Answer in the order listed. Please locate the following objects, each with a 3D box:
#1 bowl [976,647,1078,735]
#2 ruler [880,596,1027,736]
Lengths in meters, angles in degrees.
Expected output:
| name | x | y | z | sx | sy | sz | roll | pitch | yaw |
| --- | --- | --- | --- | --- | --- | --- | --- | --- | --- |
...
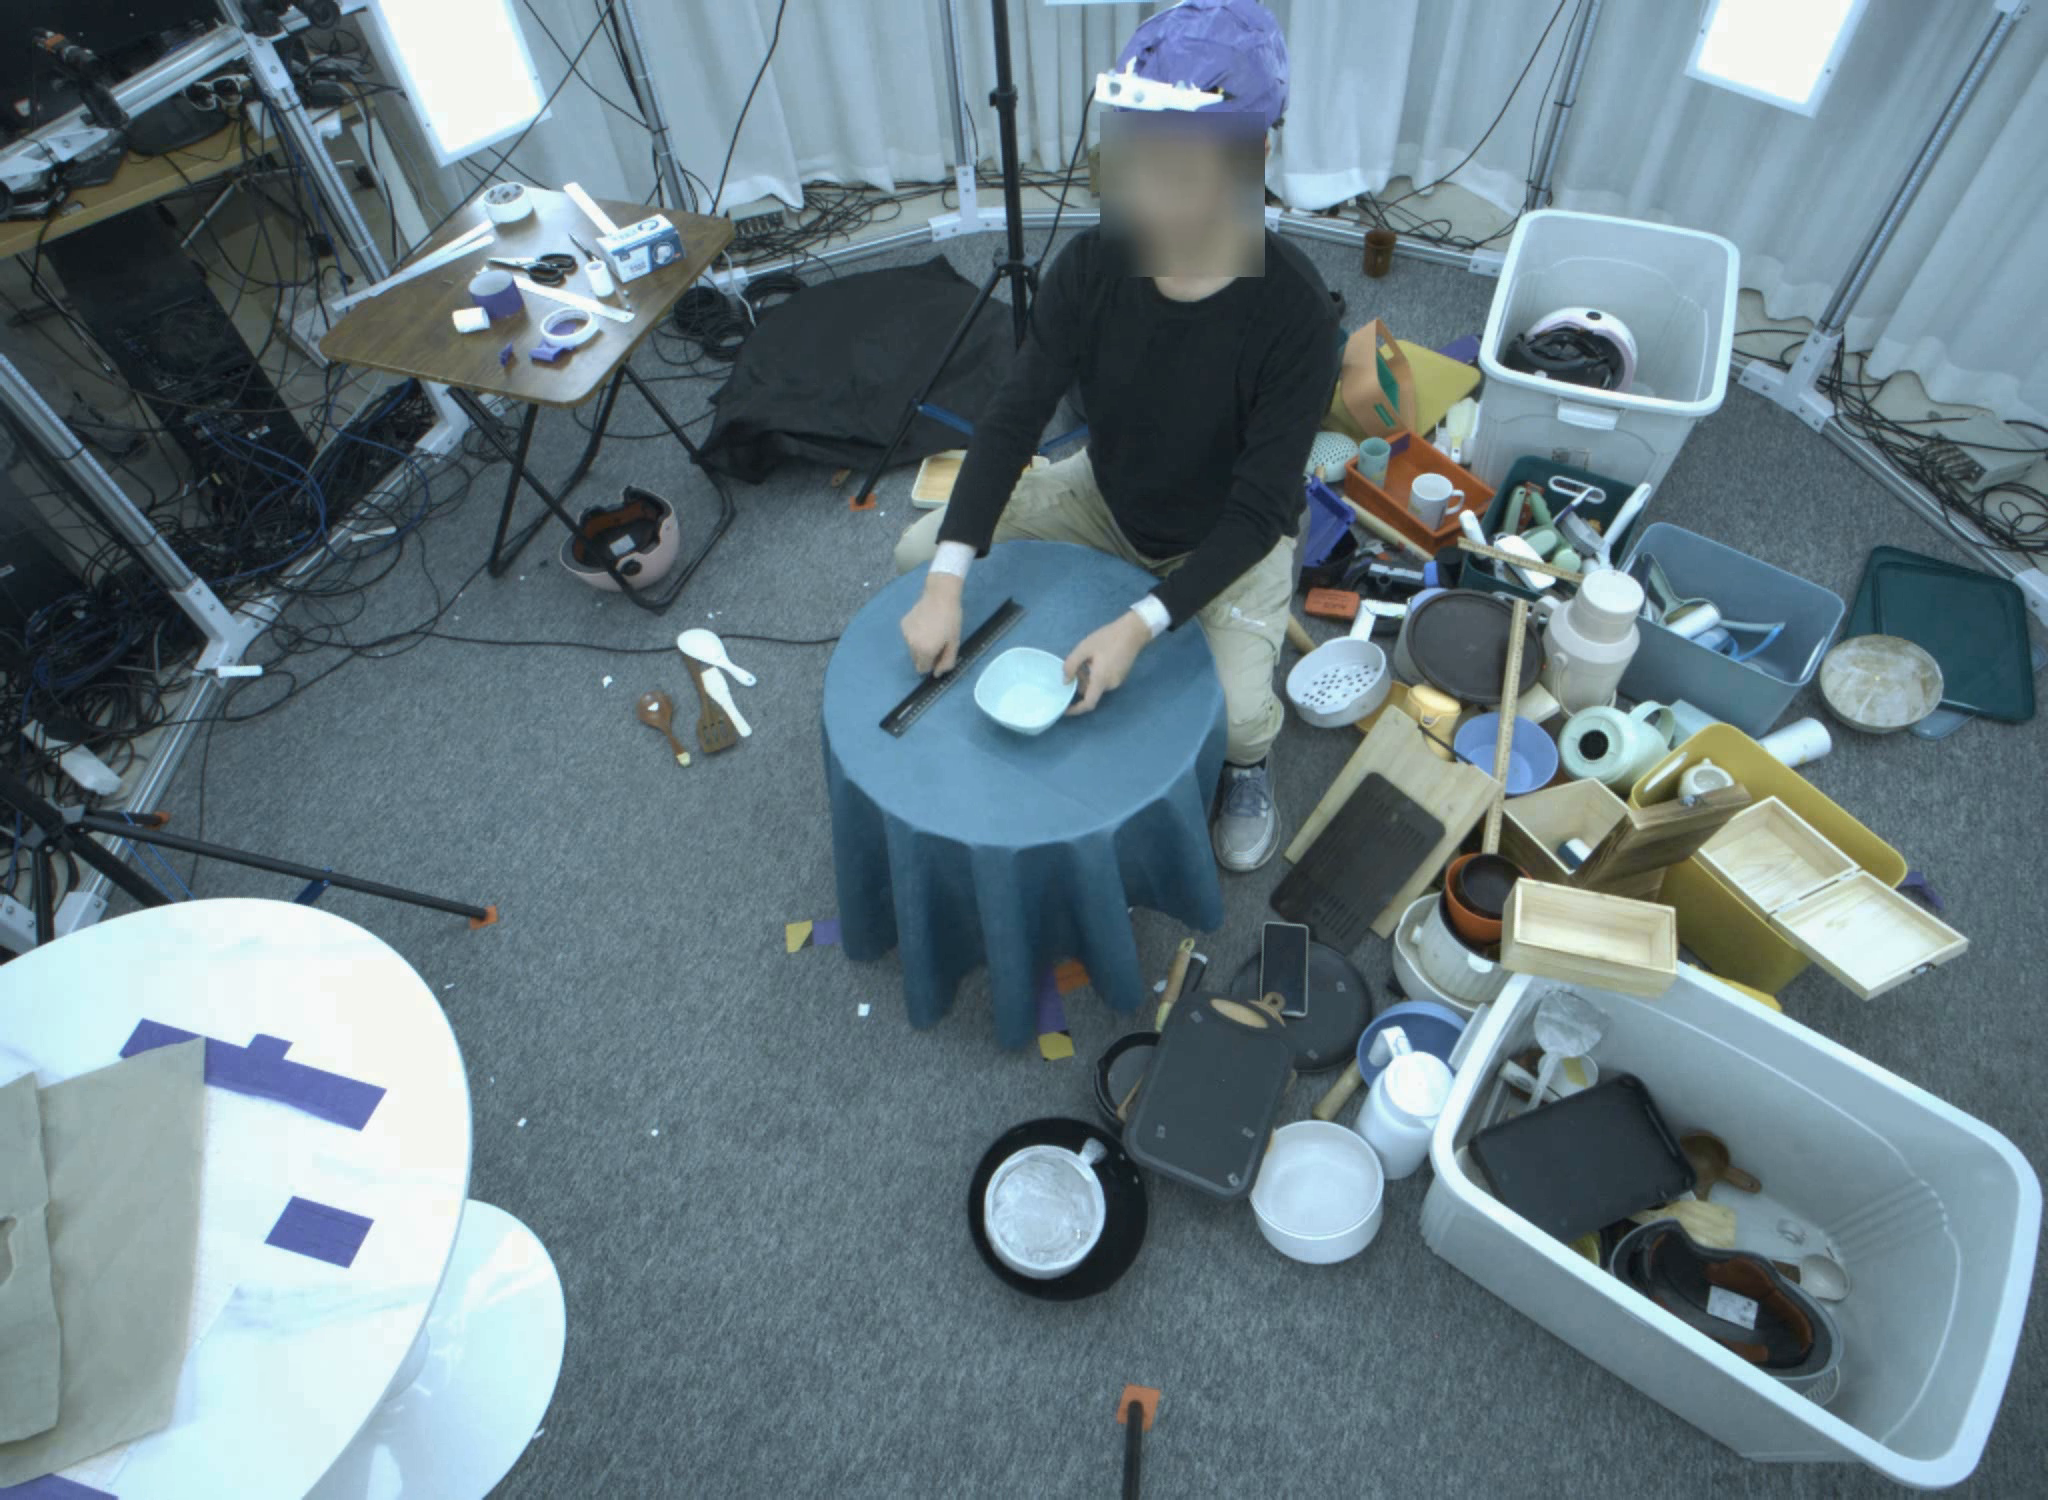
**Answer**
| name | x | y | z | sx | sy | sz | roll | pitch | yaw |
| --- | --- | --- | --- | --- | --- | --- | --- | --- | --- |
| bowl | 0.006 | -0.077 | 1.807 | 0.151 | 0.059 | 0.150 | -2 | 56 | 4 |
| ruler | -0.105 | -0.133 | 1.875 | 0.039 | 0.017 | 0.314 | 33 | 62 | 20 |
